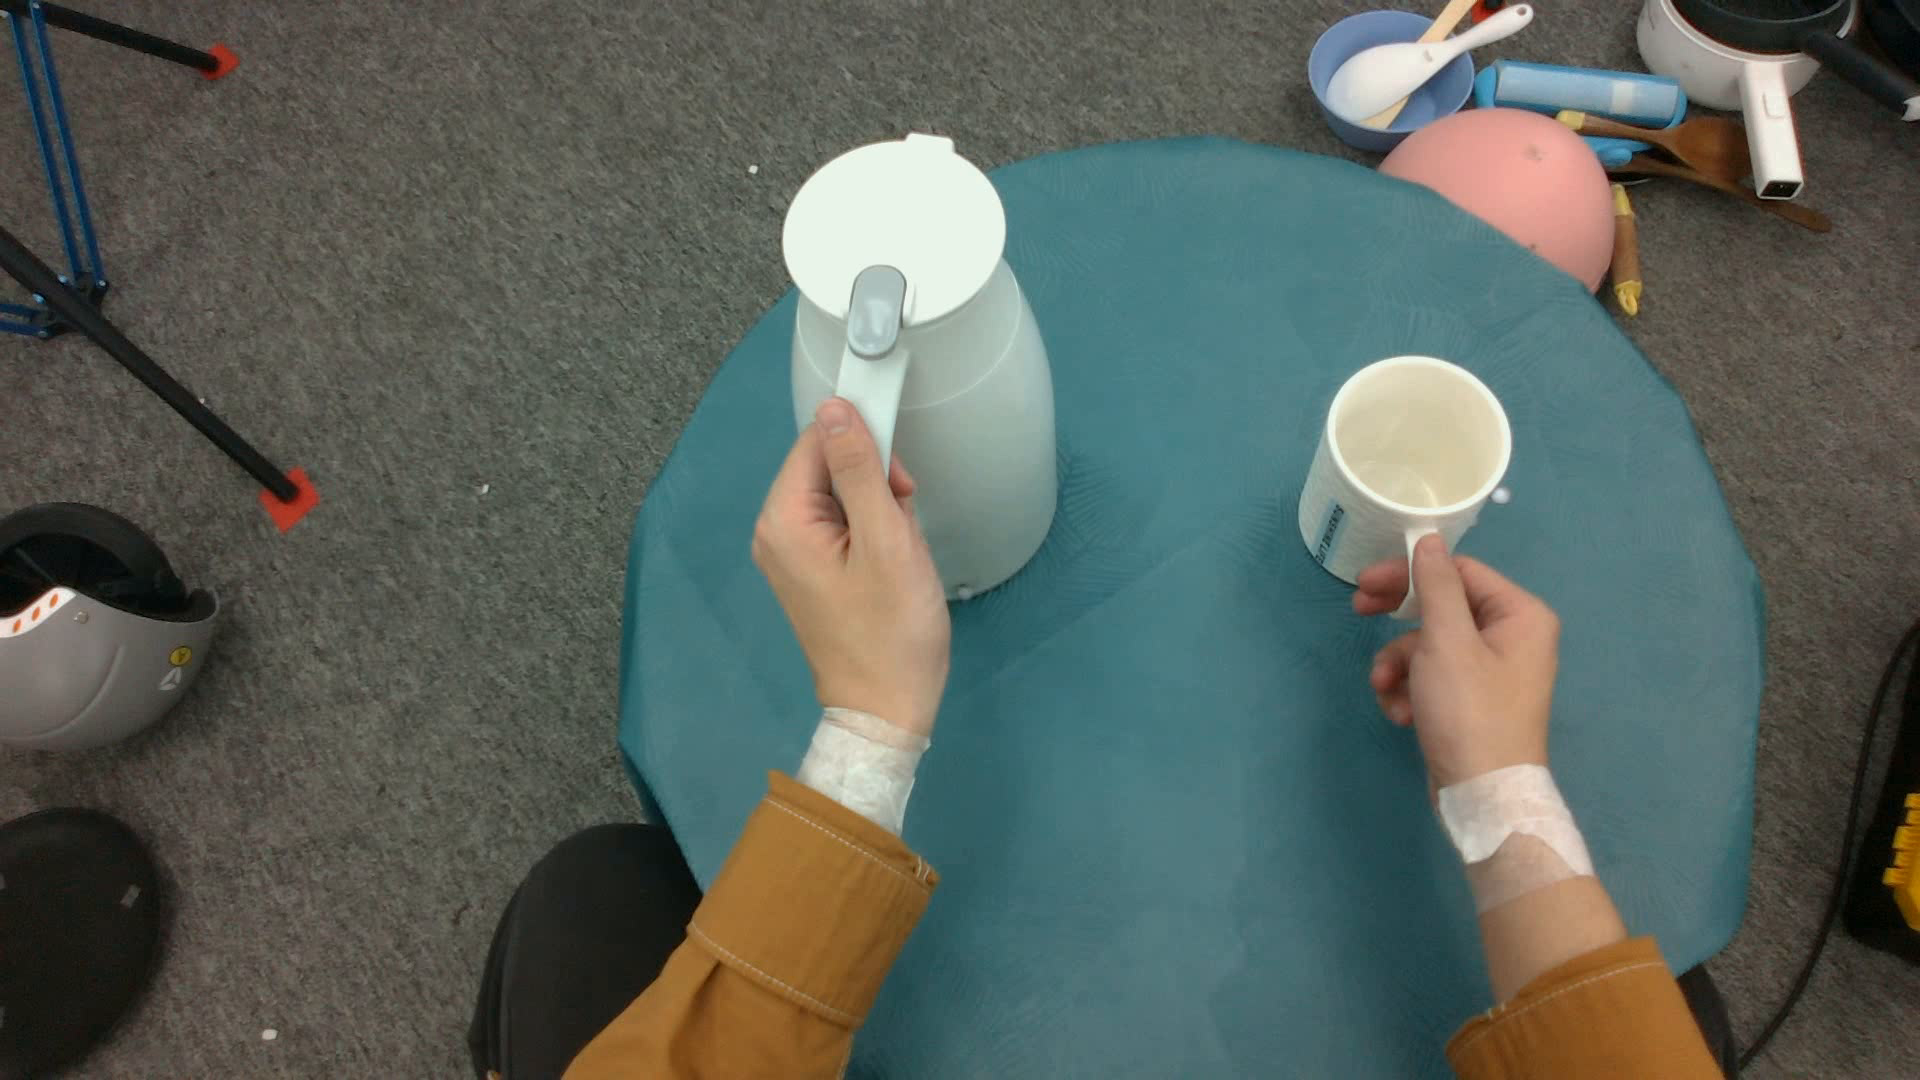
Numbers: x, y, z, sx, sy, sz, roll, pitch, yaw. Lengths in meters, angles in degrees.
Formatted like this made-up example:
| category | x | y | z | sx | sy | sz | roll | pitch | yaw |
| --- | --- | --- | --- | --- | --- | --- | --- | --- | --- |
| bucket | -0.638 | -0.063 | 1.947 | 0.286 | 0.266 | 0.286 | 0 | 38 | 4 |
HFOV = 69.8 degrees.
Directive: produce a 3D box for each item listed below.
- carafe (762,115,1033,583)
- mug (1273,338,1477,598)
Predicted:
| category | x | y | z | sx | sy | sz | roll | pitch | yaw |
| --- | --- | --- | --- | --- | --- | --- | --- | --- | --- |
| carafe | -0.033 | -0.069 | 0.657 | 0.132 | 0.248 | 0.168 | 8 | 67 | 6 |
| mug | 0.211 | -0.027 | 0.706 | 0.085 | 0.101 | 0.118 | -3 | 66 | 3 |
